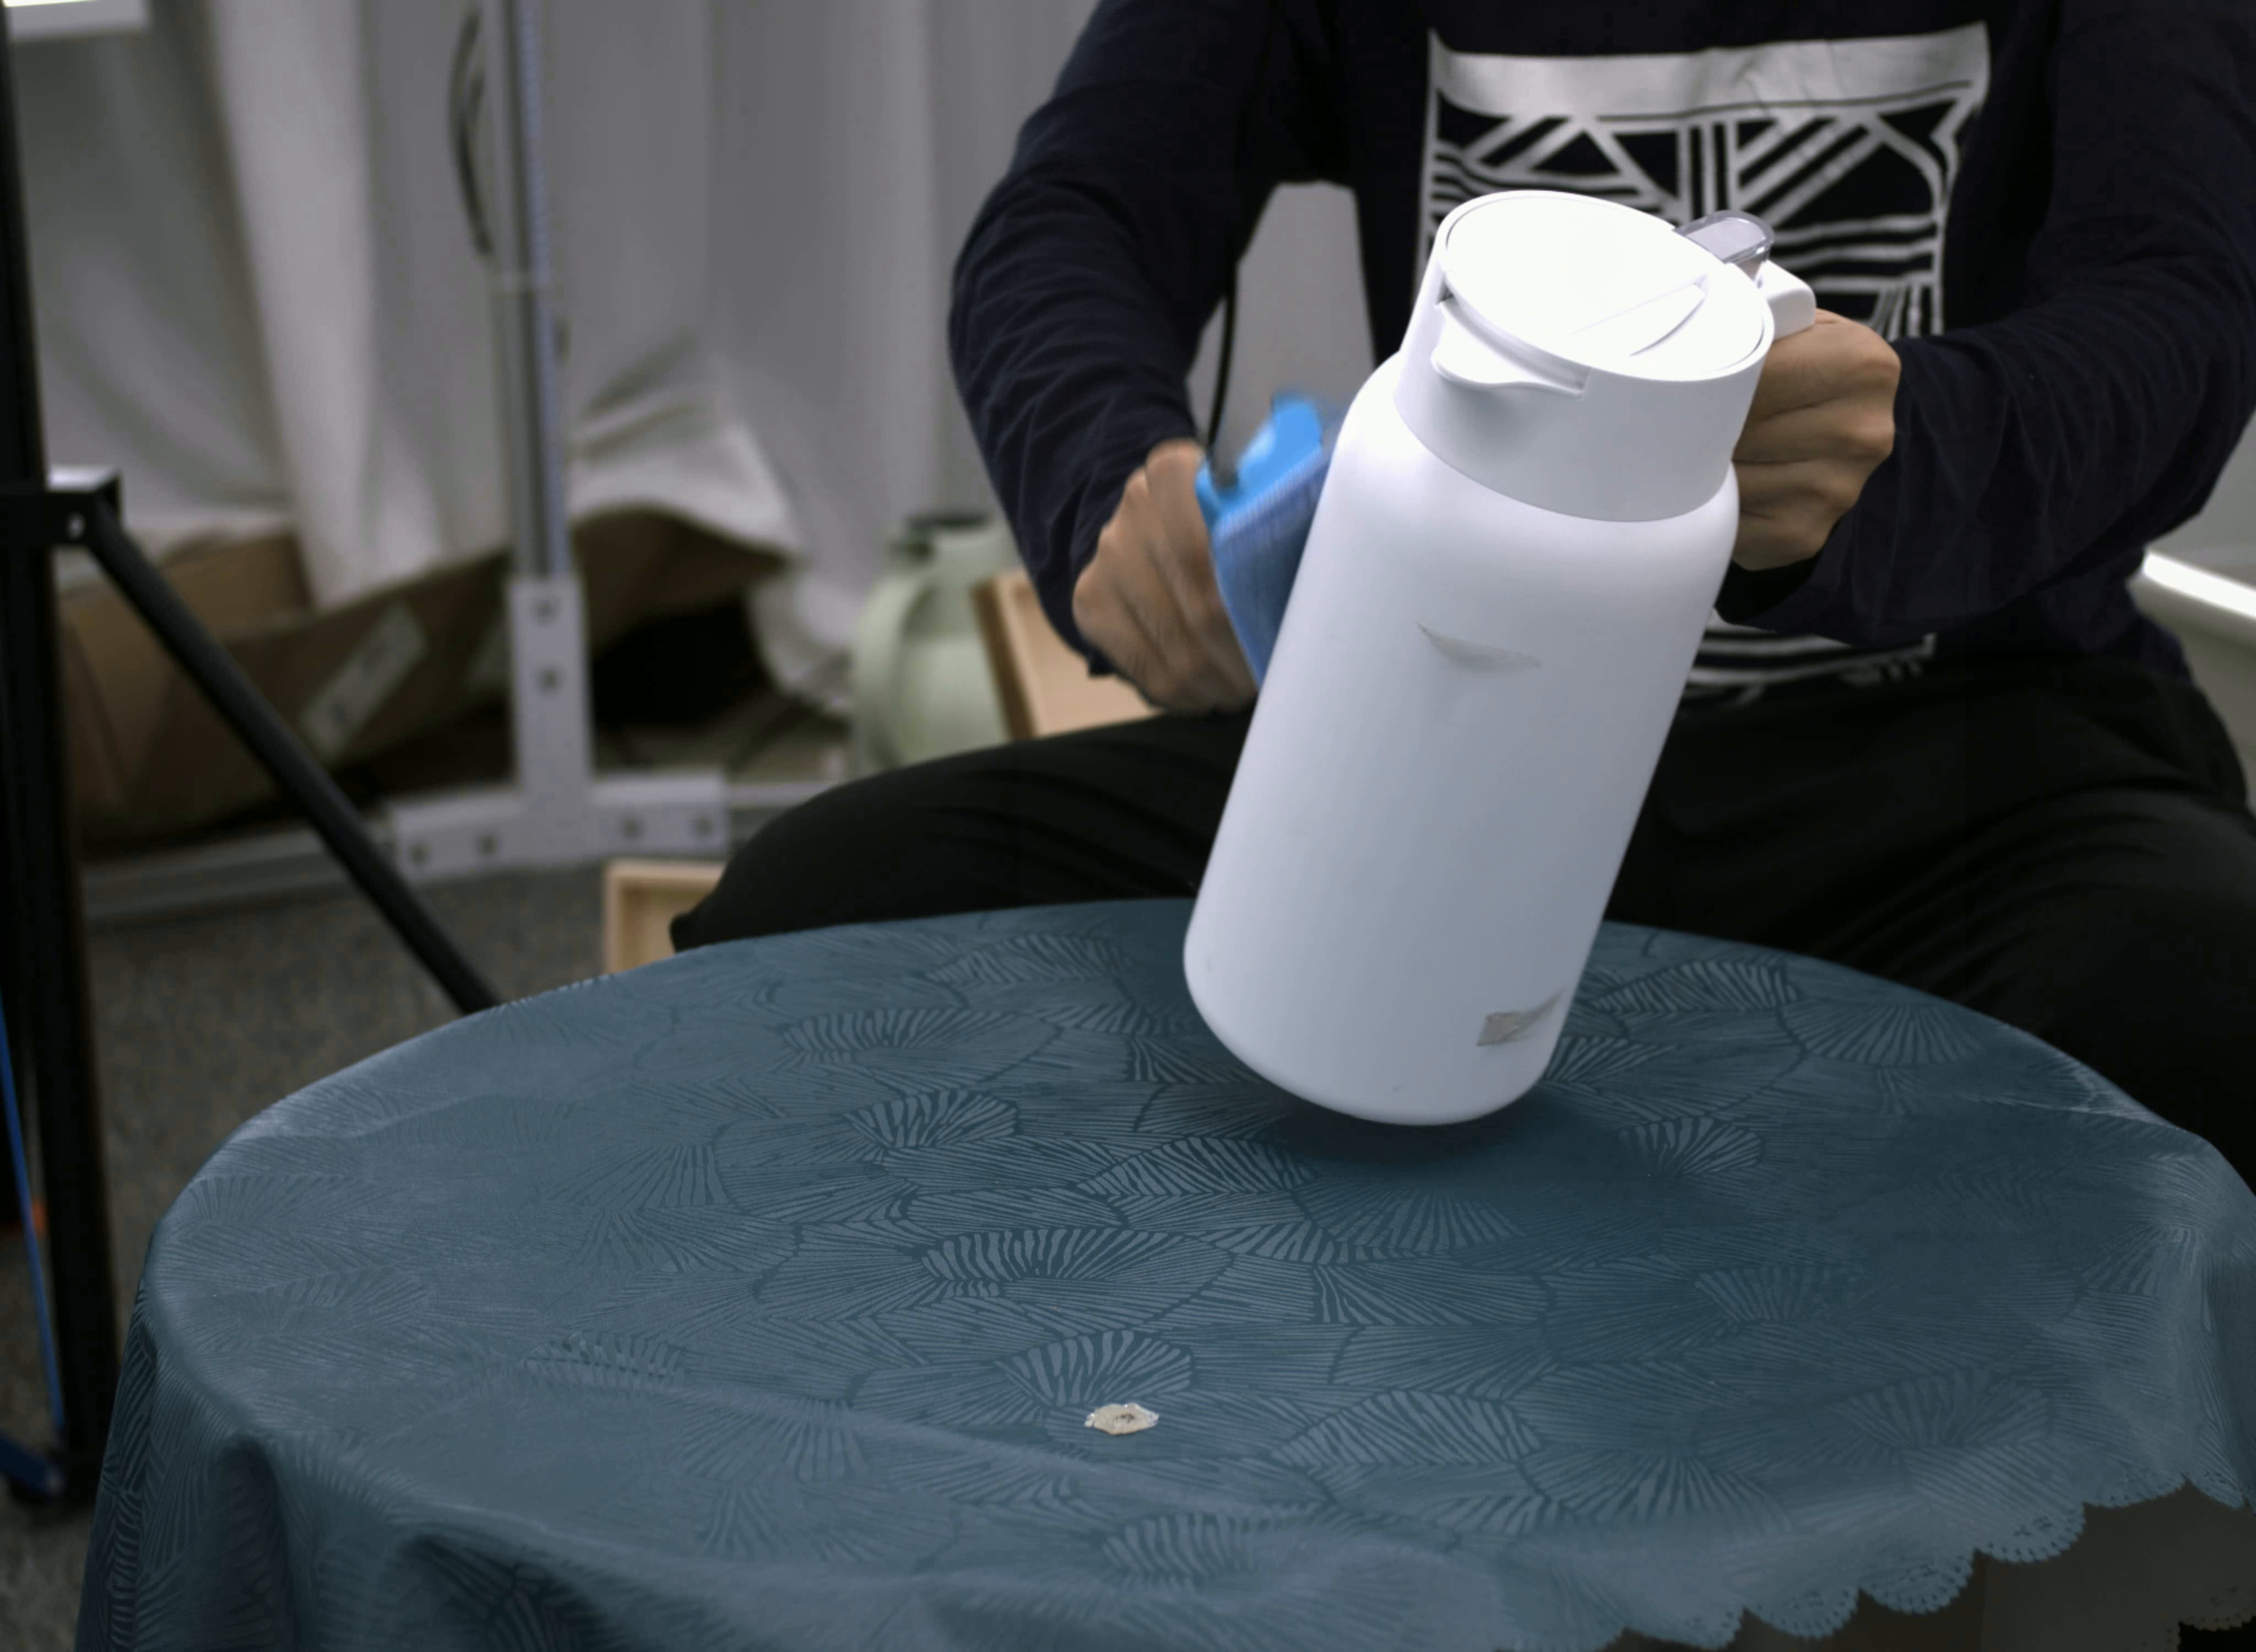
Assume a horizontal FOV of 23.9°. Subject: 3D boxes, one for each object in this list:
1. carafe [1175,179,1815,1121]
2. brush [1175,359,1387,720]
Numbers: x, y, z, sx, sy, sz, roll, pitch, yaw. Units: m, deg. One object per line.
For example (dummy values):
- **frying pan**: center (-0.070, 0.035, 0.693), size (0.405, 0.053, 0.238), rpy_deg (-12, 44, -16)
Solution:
- **carafe**: center (0.111, -0.054, 1.556), size (0.126, 0.269, 0.169), rpy_deg (35, 38, 27)
- **brush**: center (0.054, -0.089, 1.613), size (0.083, 0.141, 0.057), rpy_deg (-38, 61, -4)
